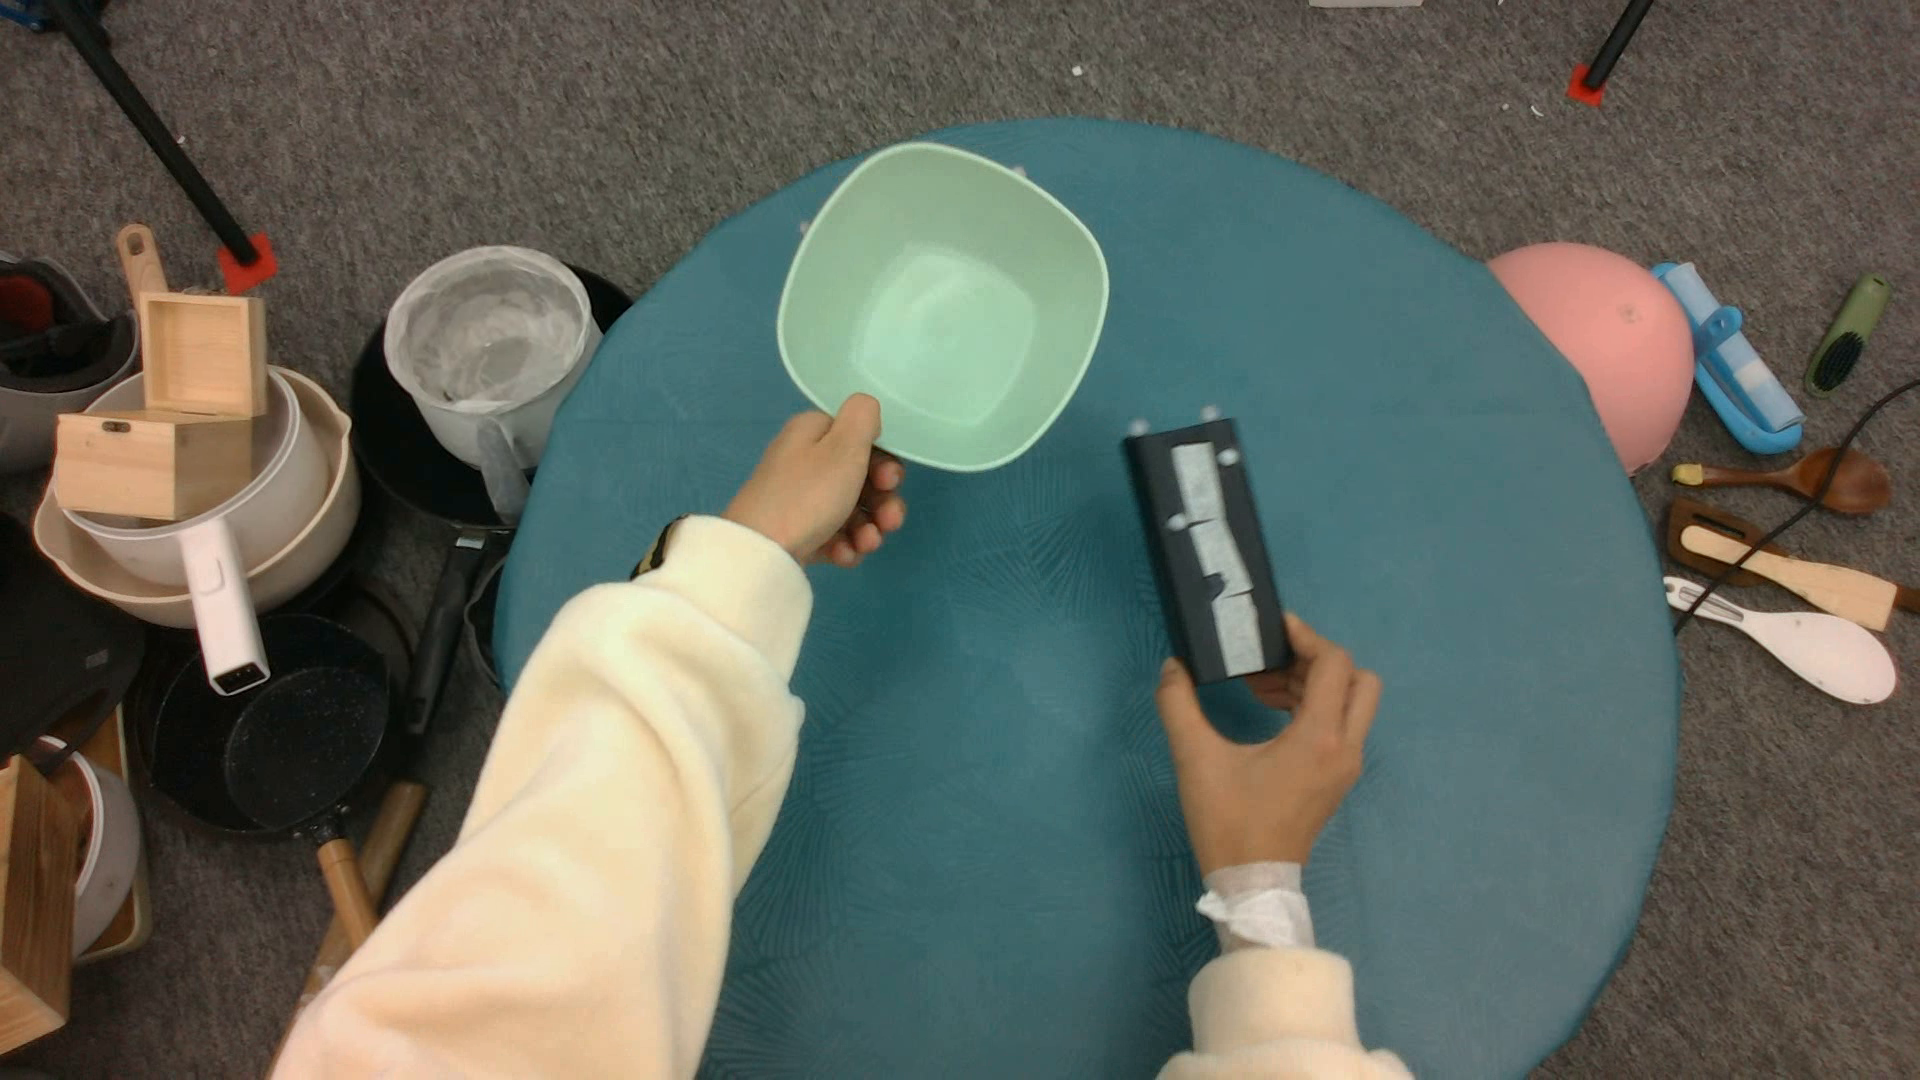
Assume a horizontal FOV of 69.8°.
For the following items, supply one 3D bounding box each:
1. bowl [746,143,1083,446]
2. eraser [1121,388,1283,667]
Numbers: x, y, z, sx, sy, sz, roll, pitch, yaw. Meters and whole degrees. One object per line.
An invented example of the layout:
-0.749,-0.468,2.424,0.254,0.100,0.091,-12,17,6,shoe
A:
-0.019,-0.104,0.633,0.151,0.058,0.152,-1,71,4,bowl
0.114,-0.006,0.655,0.053,0.030,0.125,-11,90,-8,eraser
